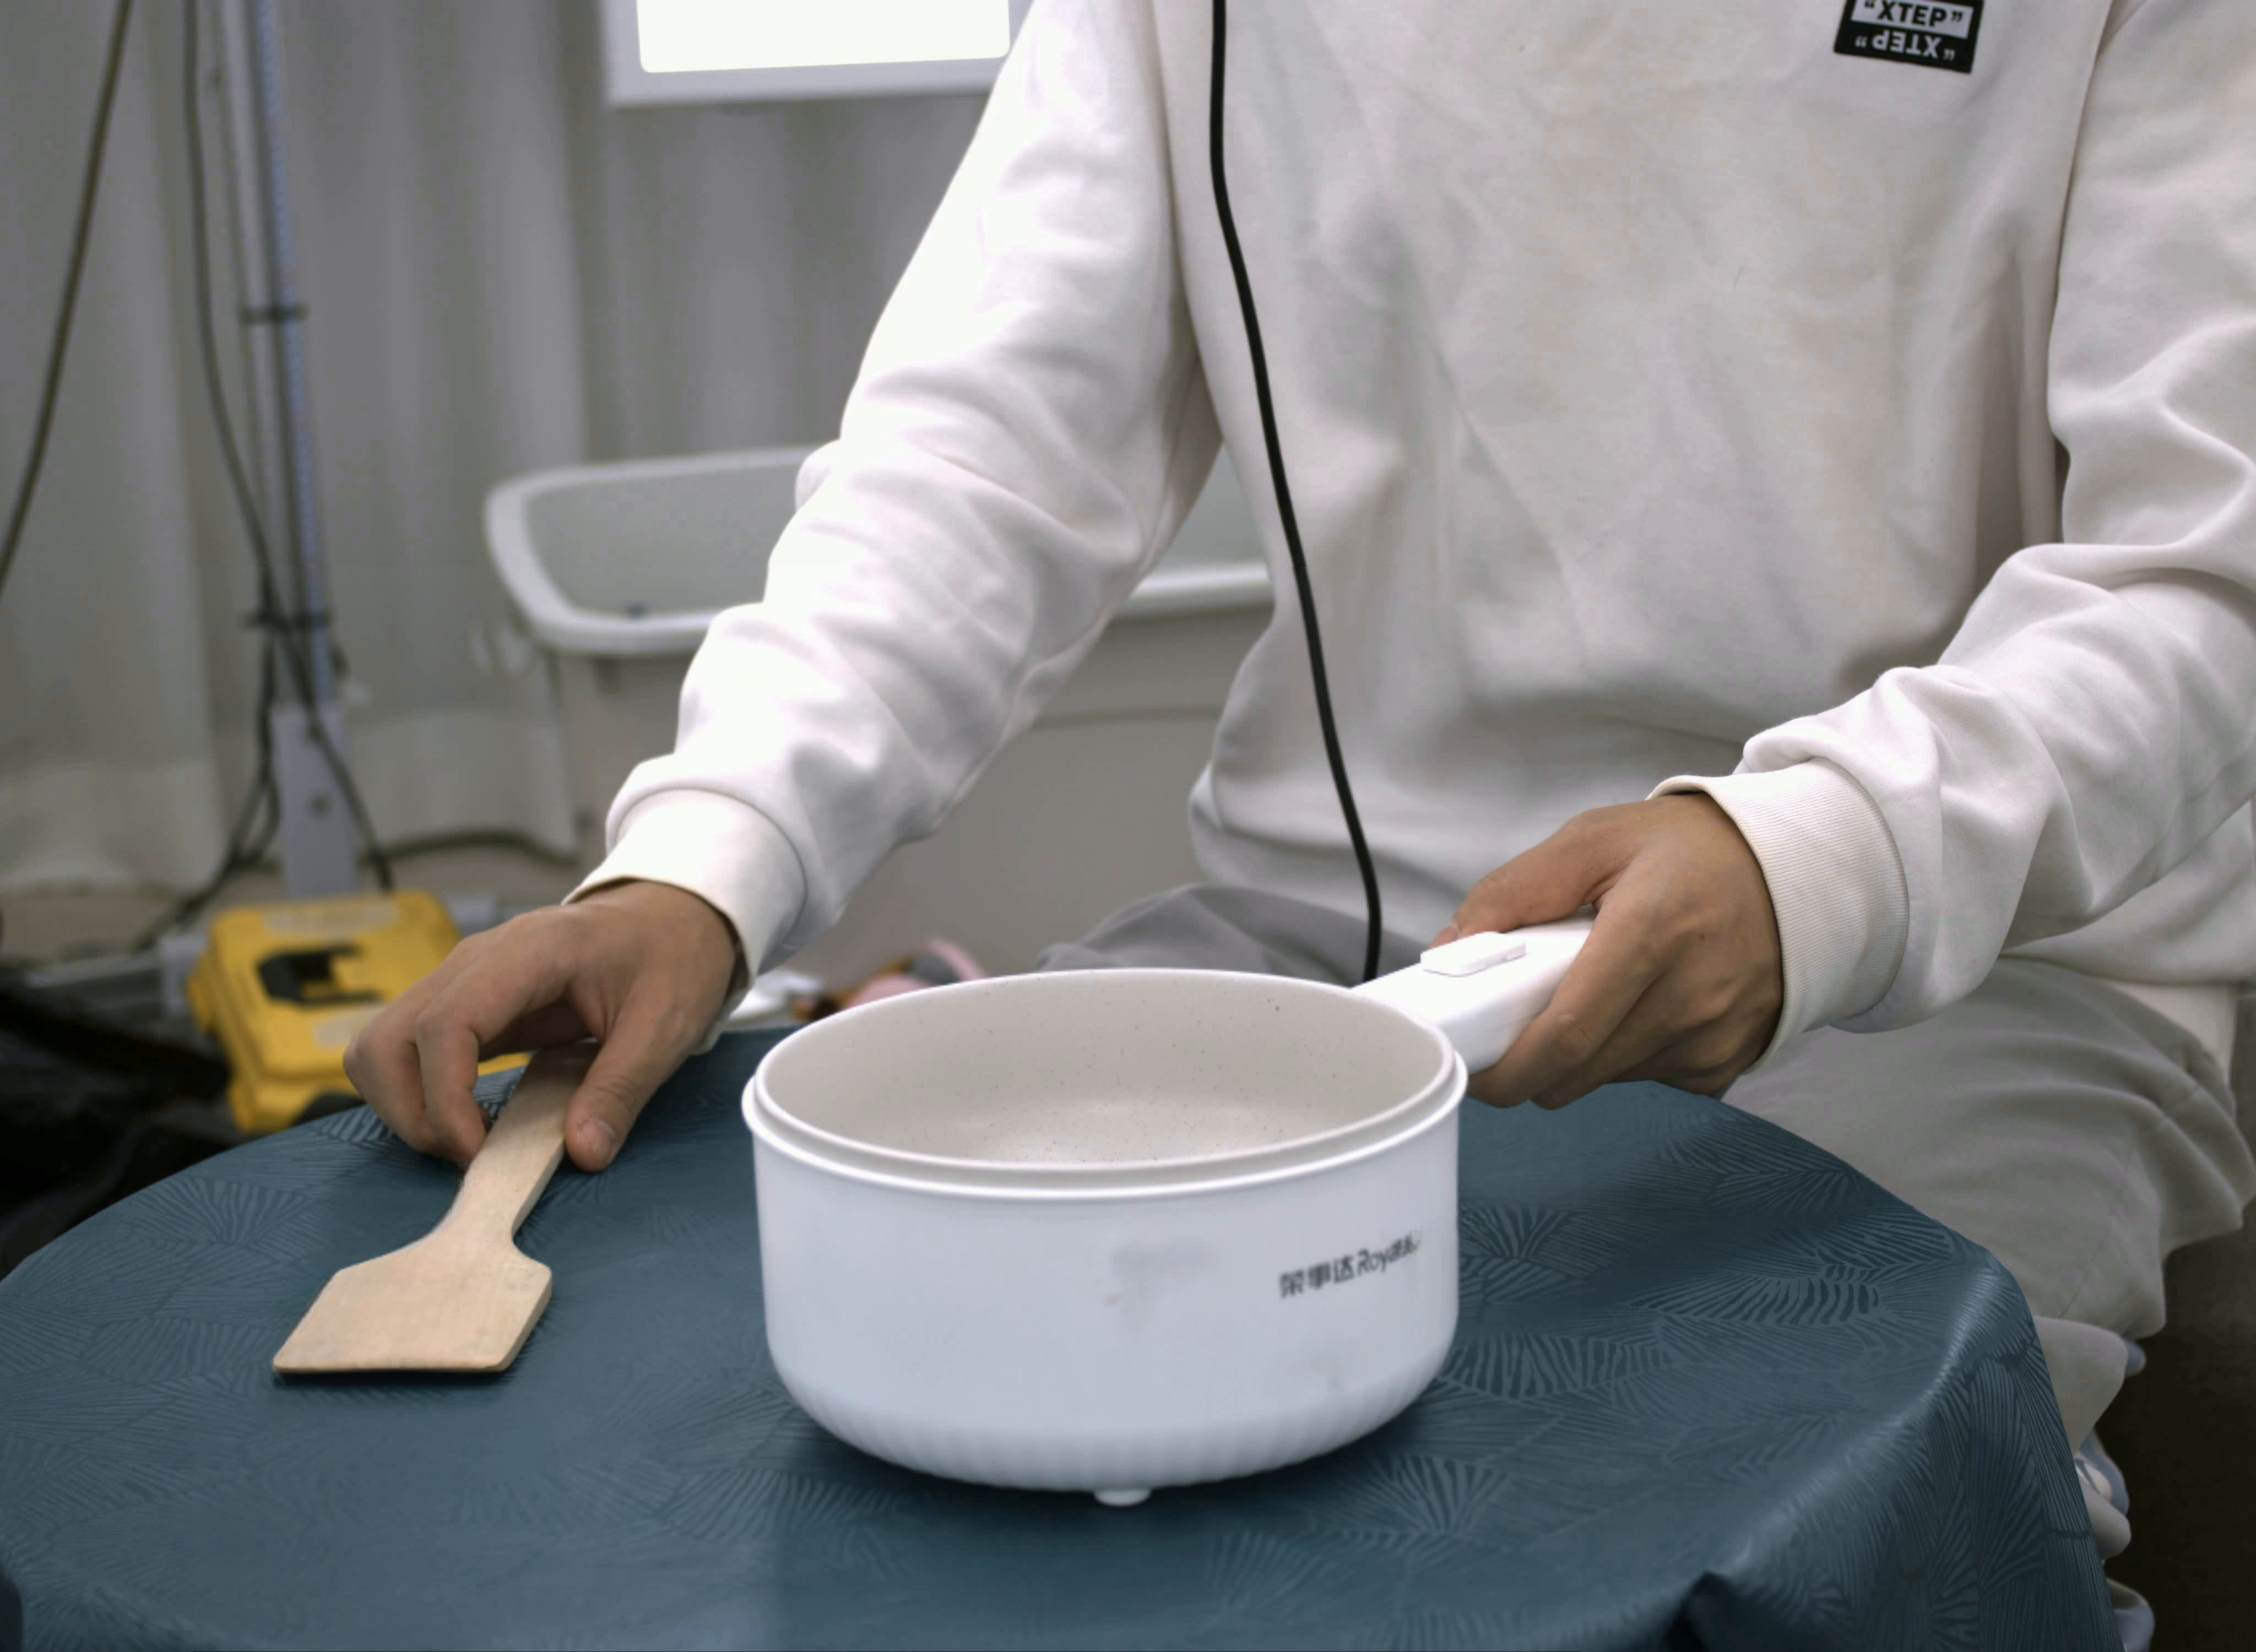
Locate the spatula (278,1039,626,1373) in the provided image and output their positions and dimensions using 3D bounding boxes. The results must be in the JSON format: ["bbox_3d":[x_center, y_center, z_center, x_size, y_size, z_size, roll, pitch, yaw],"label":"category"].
[{"bbox_3d":[-0.199,0.117,1.719,0.072,0.010,0.295,-2,16,7],"label":"spatula"}]

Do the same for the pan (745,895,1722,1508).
[{"bbox_3d":[0.048,0.101,1.577,0.202,0.102,0.354,9,17,42],"label":"pan"}]
